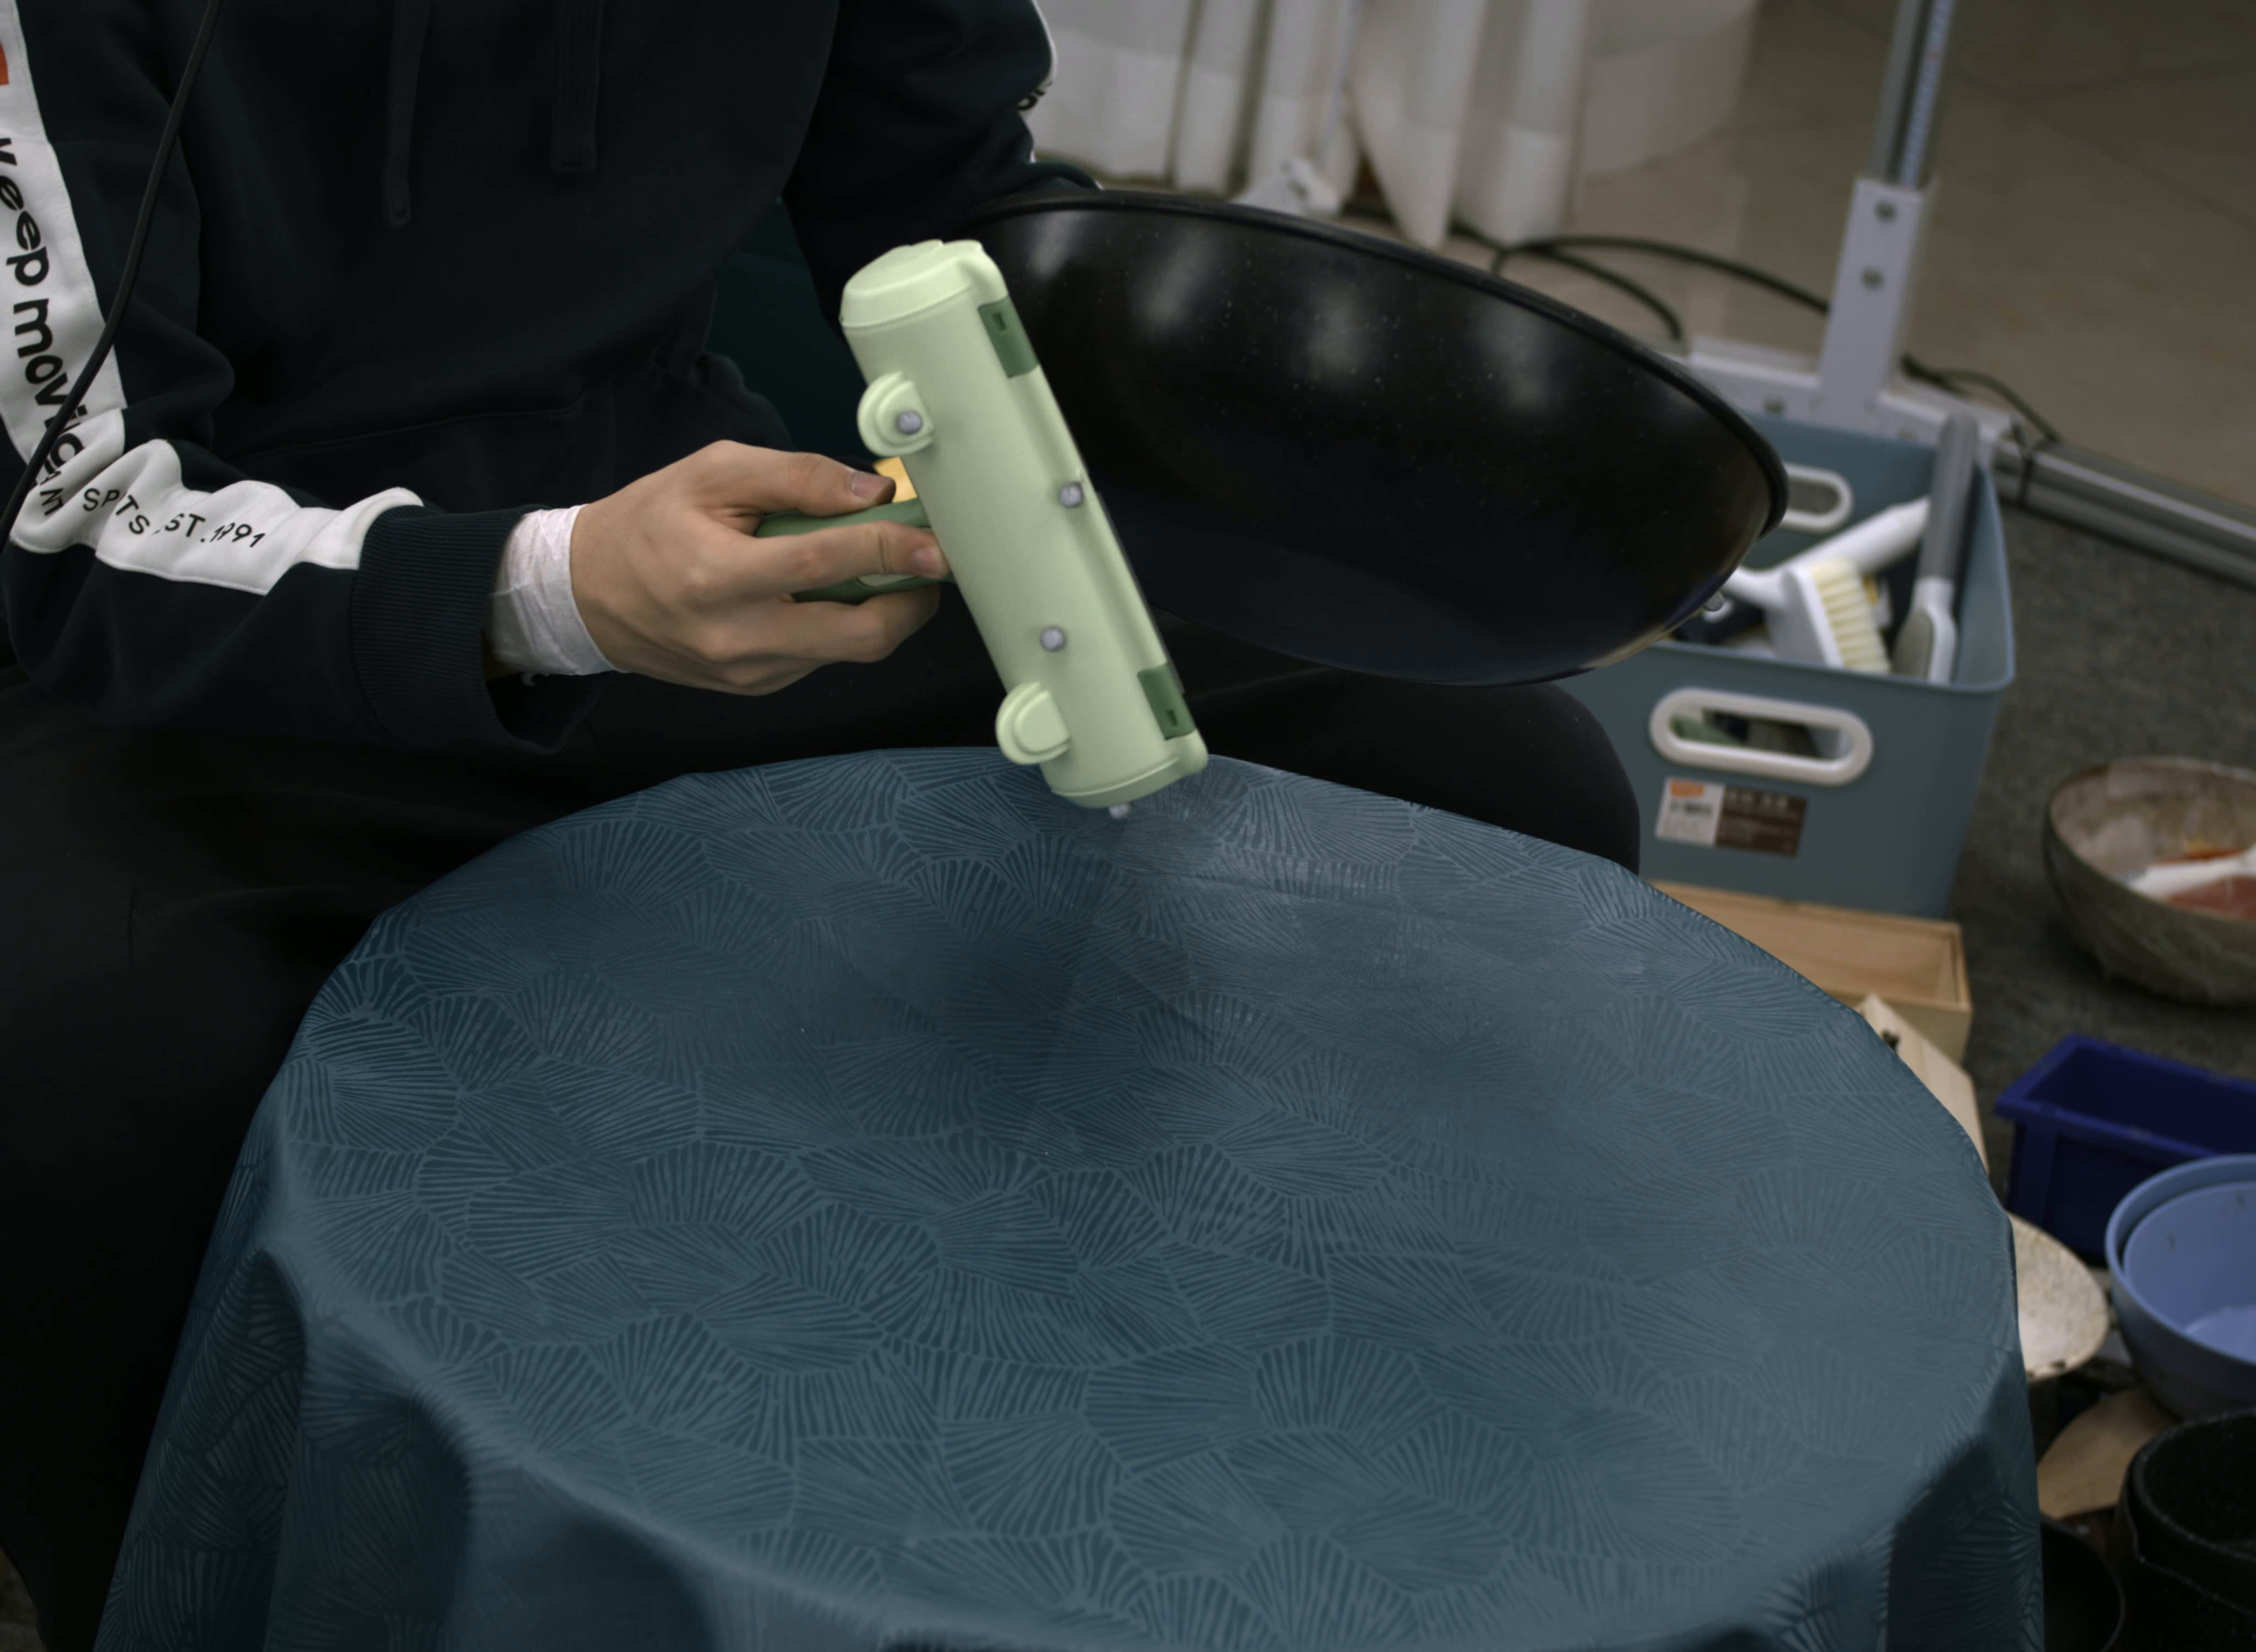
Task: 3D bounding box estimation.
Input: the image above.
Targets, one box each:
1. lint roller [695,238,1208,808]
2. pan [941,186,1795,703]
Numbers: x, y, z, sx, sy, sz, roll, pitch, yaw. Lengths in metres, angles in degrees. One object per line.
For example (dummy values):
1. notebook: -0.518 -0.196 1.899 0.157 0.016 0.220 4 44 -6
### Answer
1. lint roller: -0.084 -0.086 1.785 0.184 0.198 0.082 -13 21 31
2. pan: 0.049 -0.115 1.916 0.308 0.112 0.477 22 -12 -13
